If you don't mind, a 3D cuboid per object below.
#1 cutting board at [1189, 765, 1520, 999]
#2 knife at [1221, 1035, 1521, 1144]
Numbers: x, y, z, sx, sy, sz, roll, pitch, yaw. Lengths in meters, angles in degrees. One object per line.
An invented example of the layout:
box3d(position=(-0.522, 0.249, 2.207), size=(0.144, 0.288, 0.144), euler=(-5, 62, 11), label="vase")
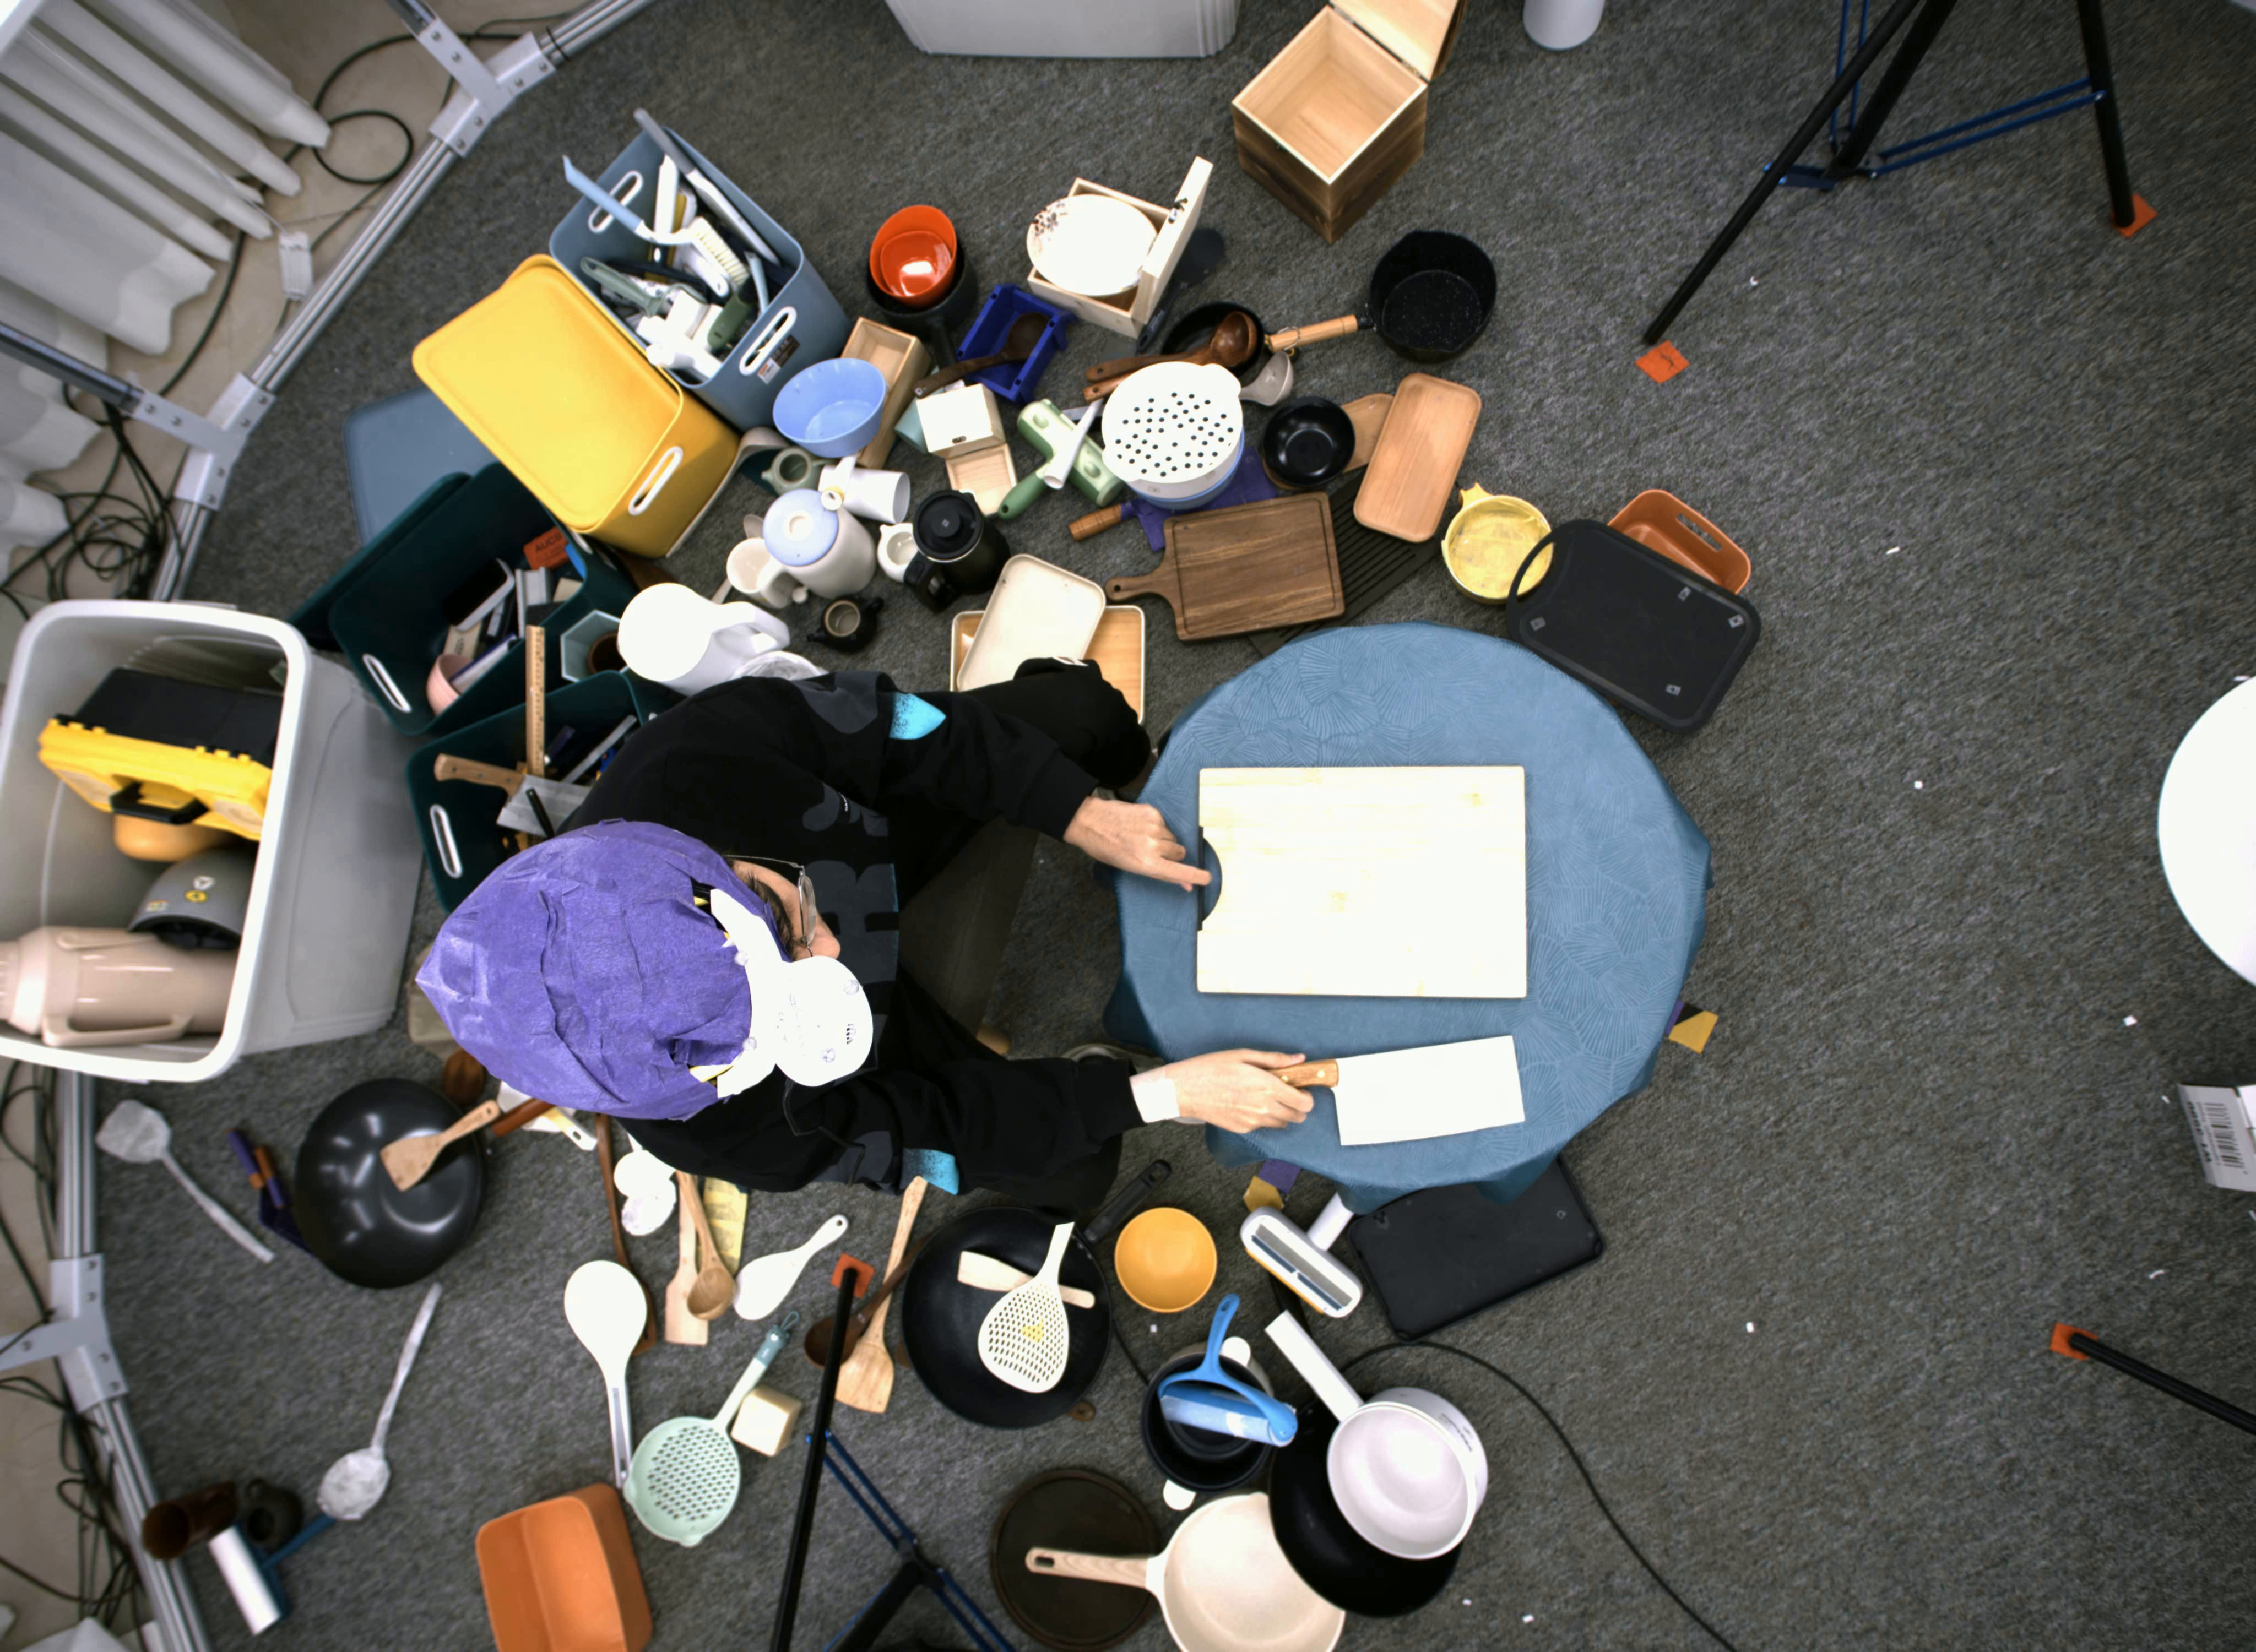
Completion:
box3d(position=(0.238, 0.055, 1.458), size=(0.350, 0.023, 0.249), euler=(-1, 87, 10), label="cutting board")
box3d(position=(0.252, 0.278, 1.435), size=(0.307, 0.021, 0.093), euler=(-9, 89, 5), label="knife")
